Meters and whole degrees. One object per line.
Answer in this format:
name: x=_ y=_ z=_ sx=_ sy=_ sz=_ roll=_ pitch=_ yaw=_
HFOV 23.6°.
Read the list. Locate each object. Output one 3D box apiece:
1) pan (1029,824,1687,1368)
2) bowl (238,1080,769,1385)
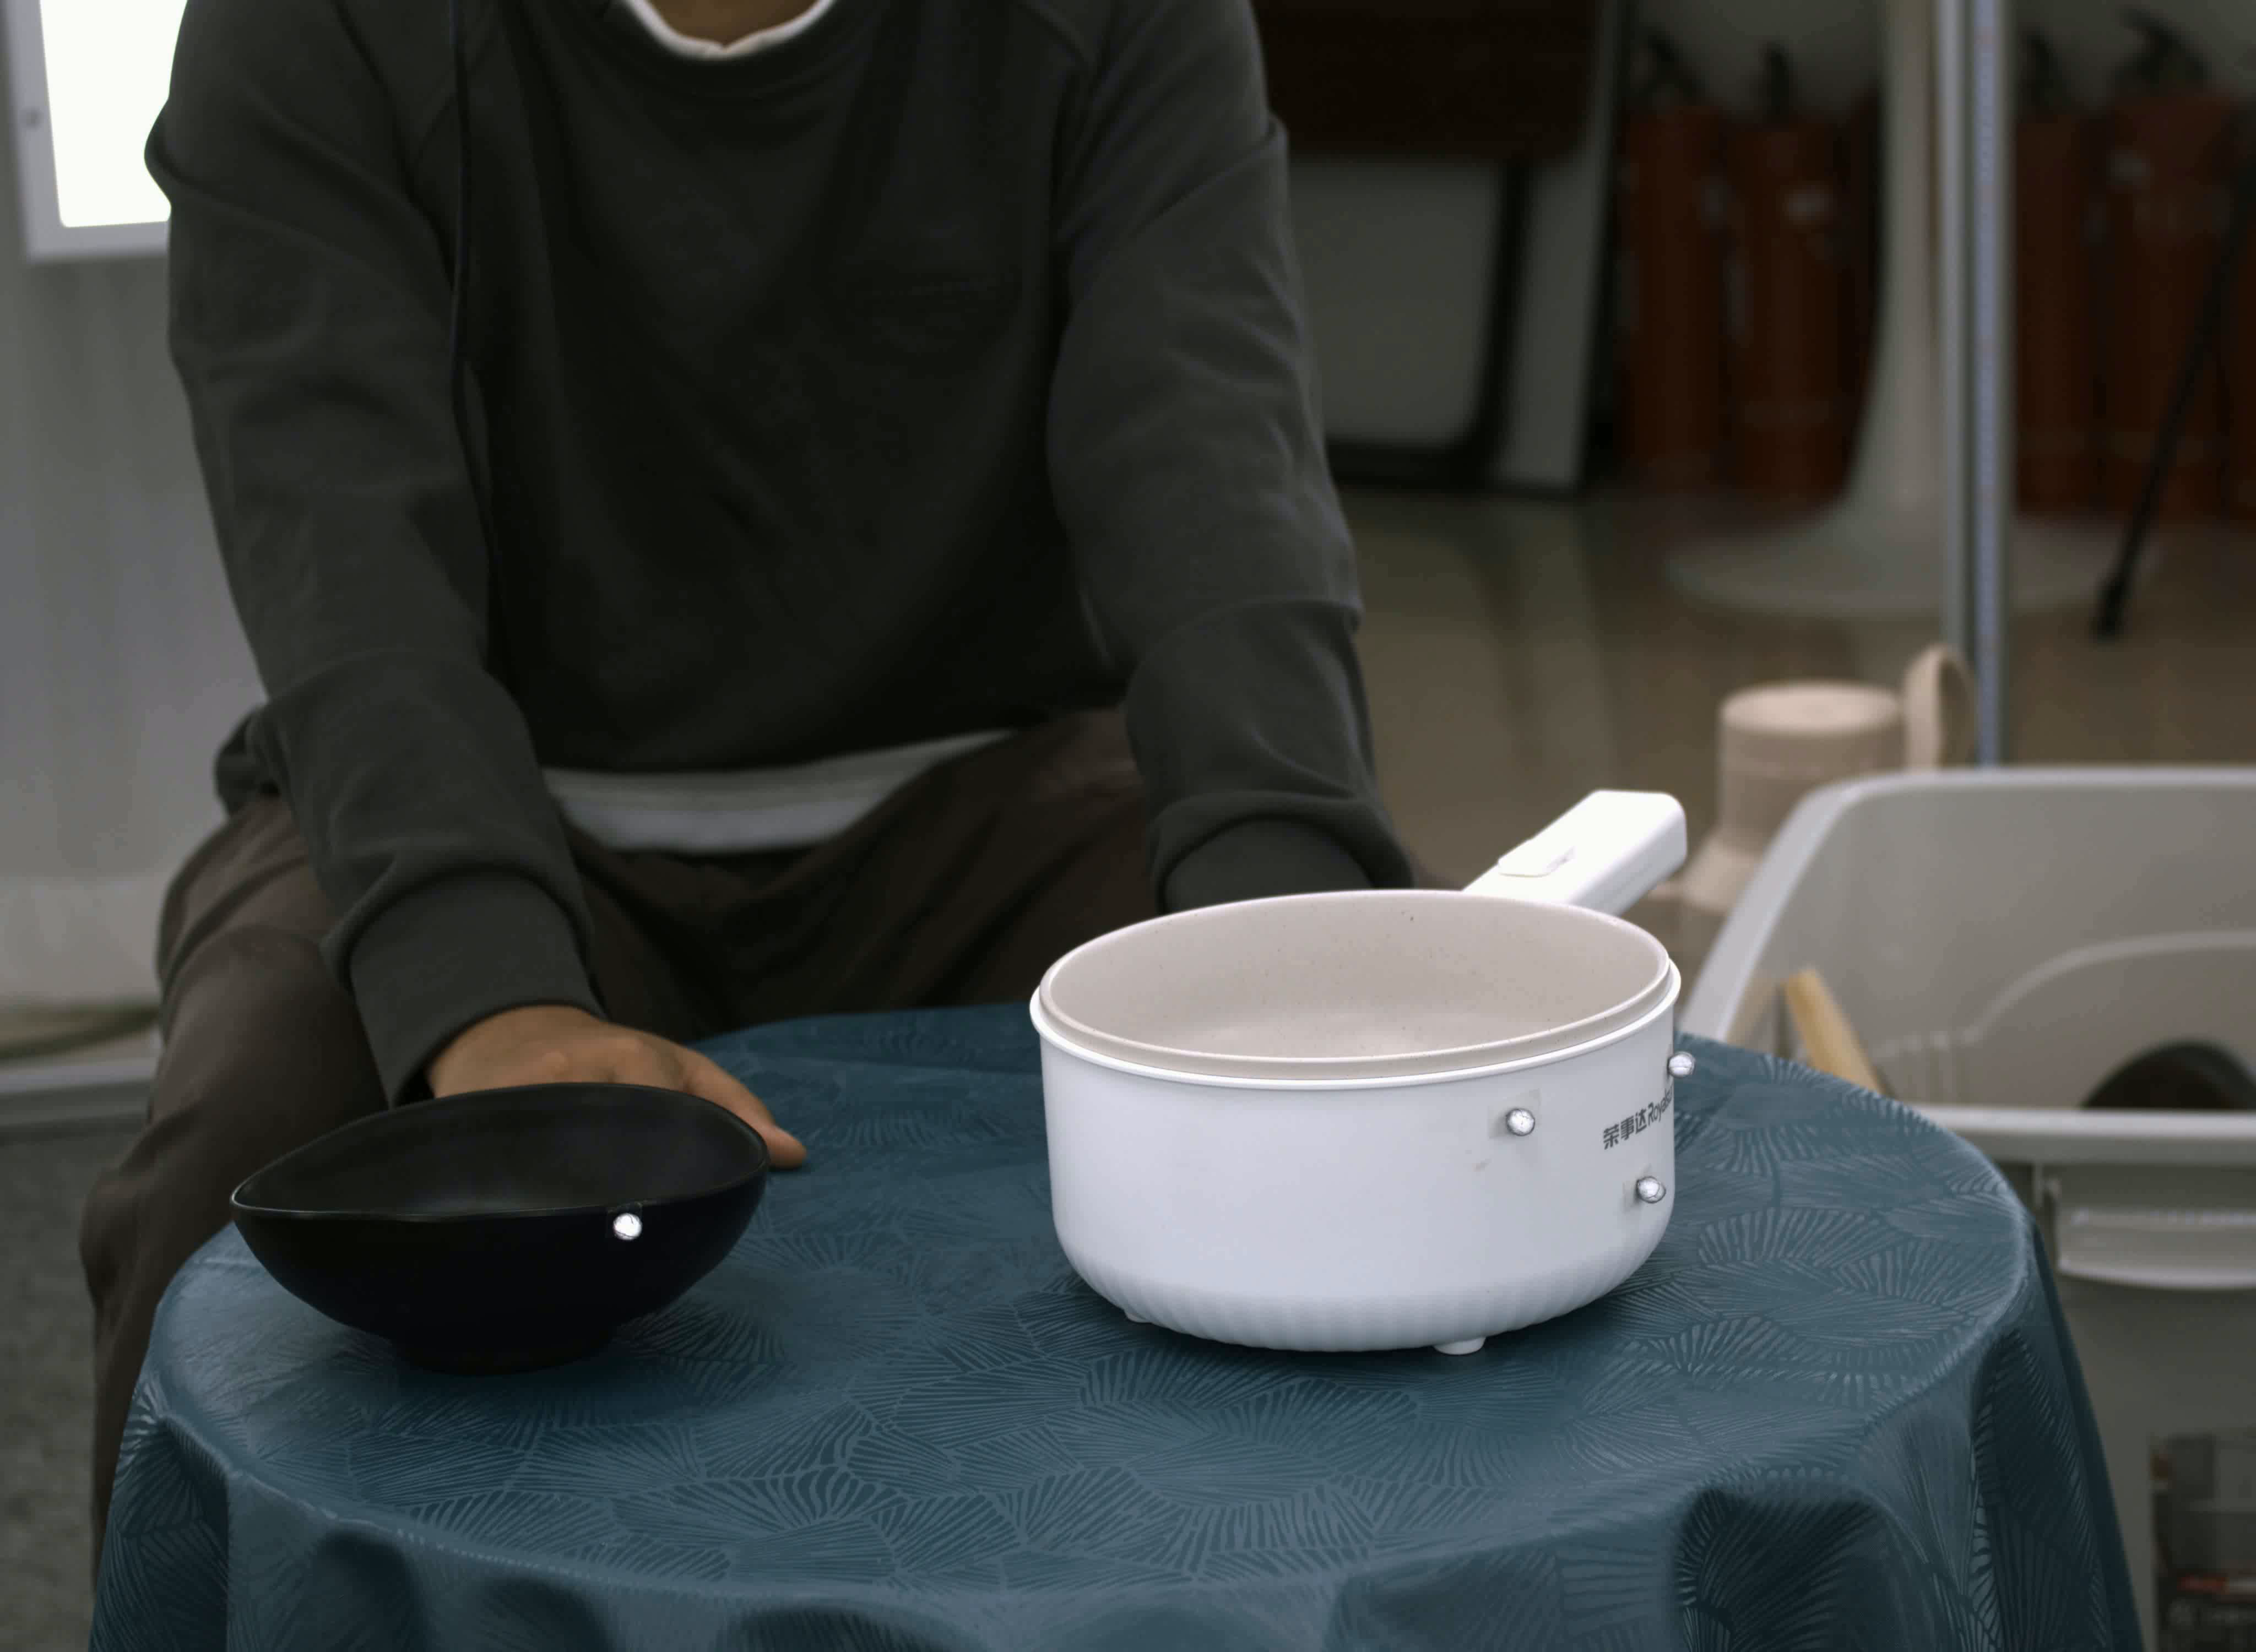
pan: x=0.104 y=0.083 z=1.726 sx=0.201 sy=0.103 sz=0.350 roll=-1 pitch=11 yaw=26
bowl: x=-0.190 y=0.130 z=1.657 sx=0.169 sy=0.067 sz=0.136 roll=-3 pitch=14 yaw=12
